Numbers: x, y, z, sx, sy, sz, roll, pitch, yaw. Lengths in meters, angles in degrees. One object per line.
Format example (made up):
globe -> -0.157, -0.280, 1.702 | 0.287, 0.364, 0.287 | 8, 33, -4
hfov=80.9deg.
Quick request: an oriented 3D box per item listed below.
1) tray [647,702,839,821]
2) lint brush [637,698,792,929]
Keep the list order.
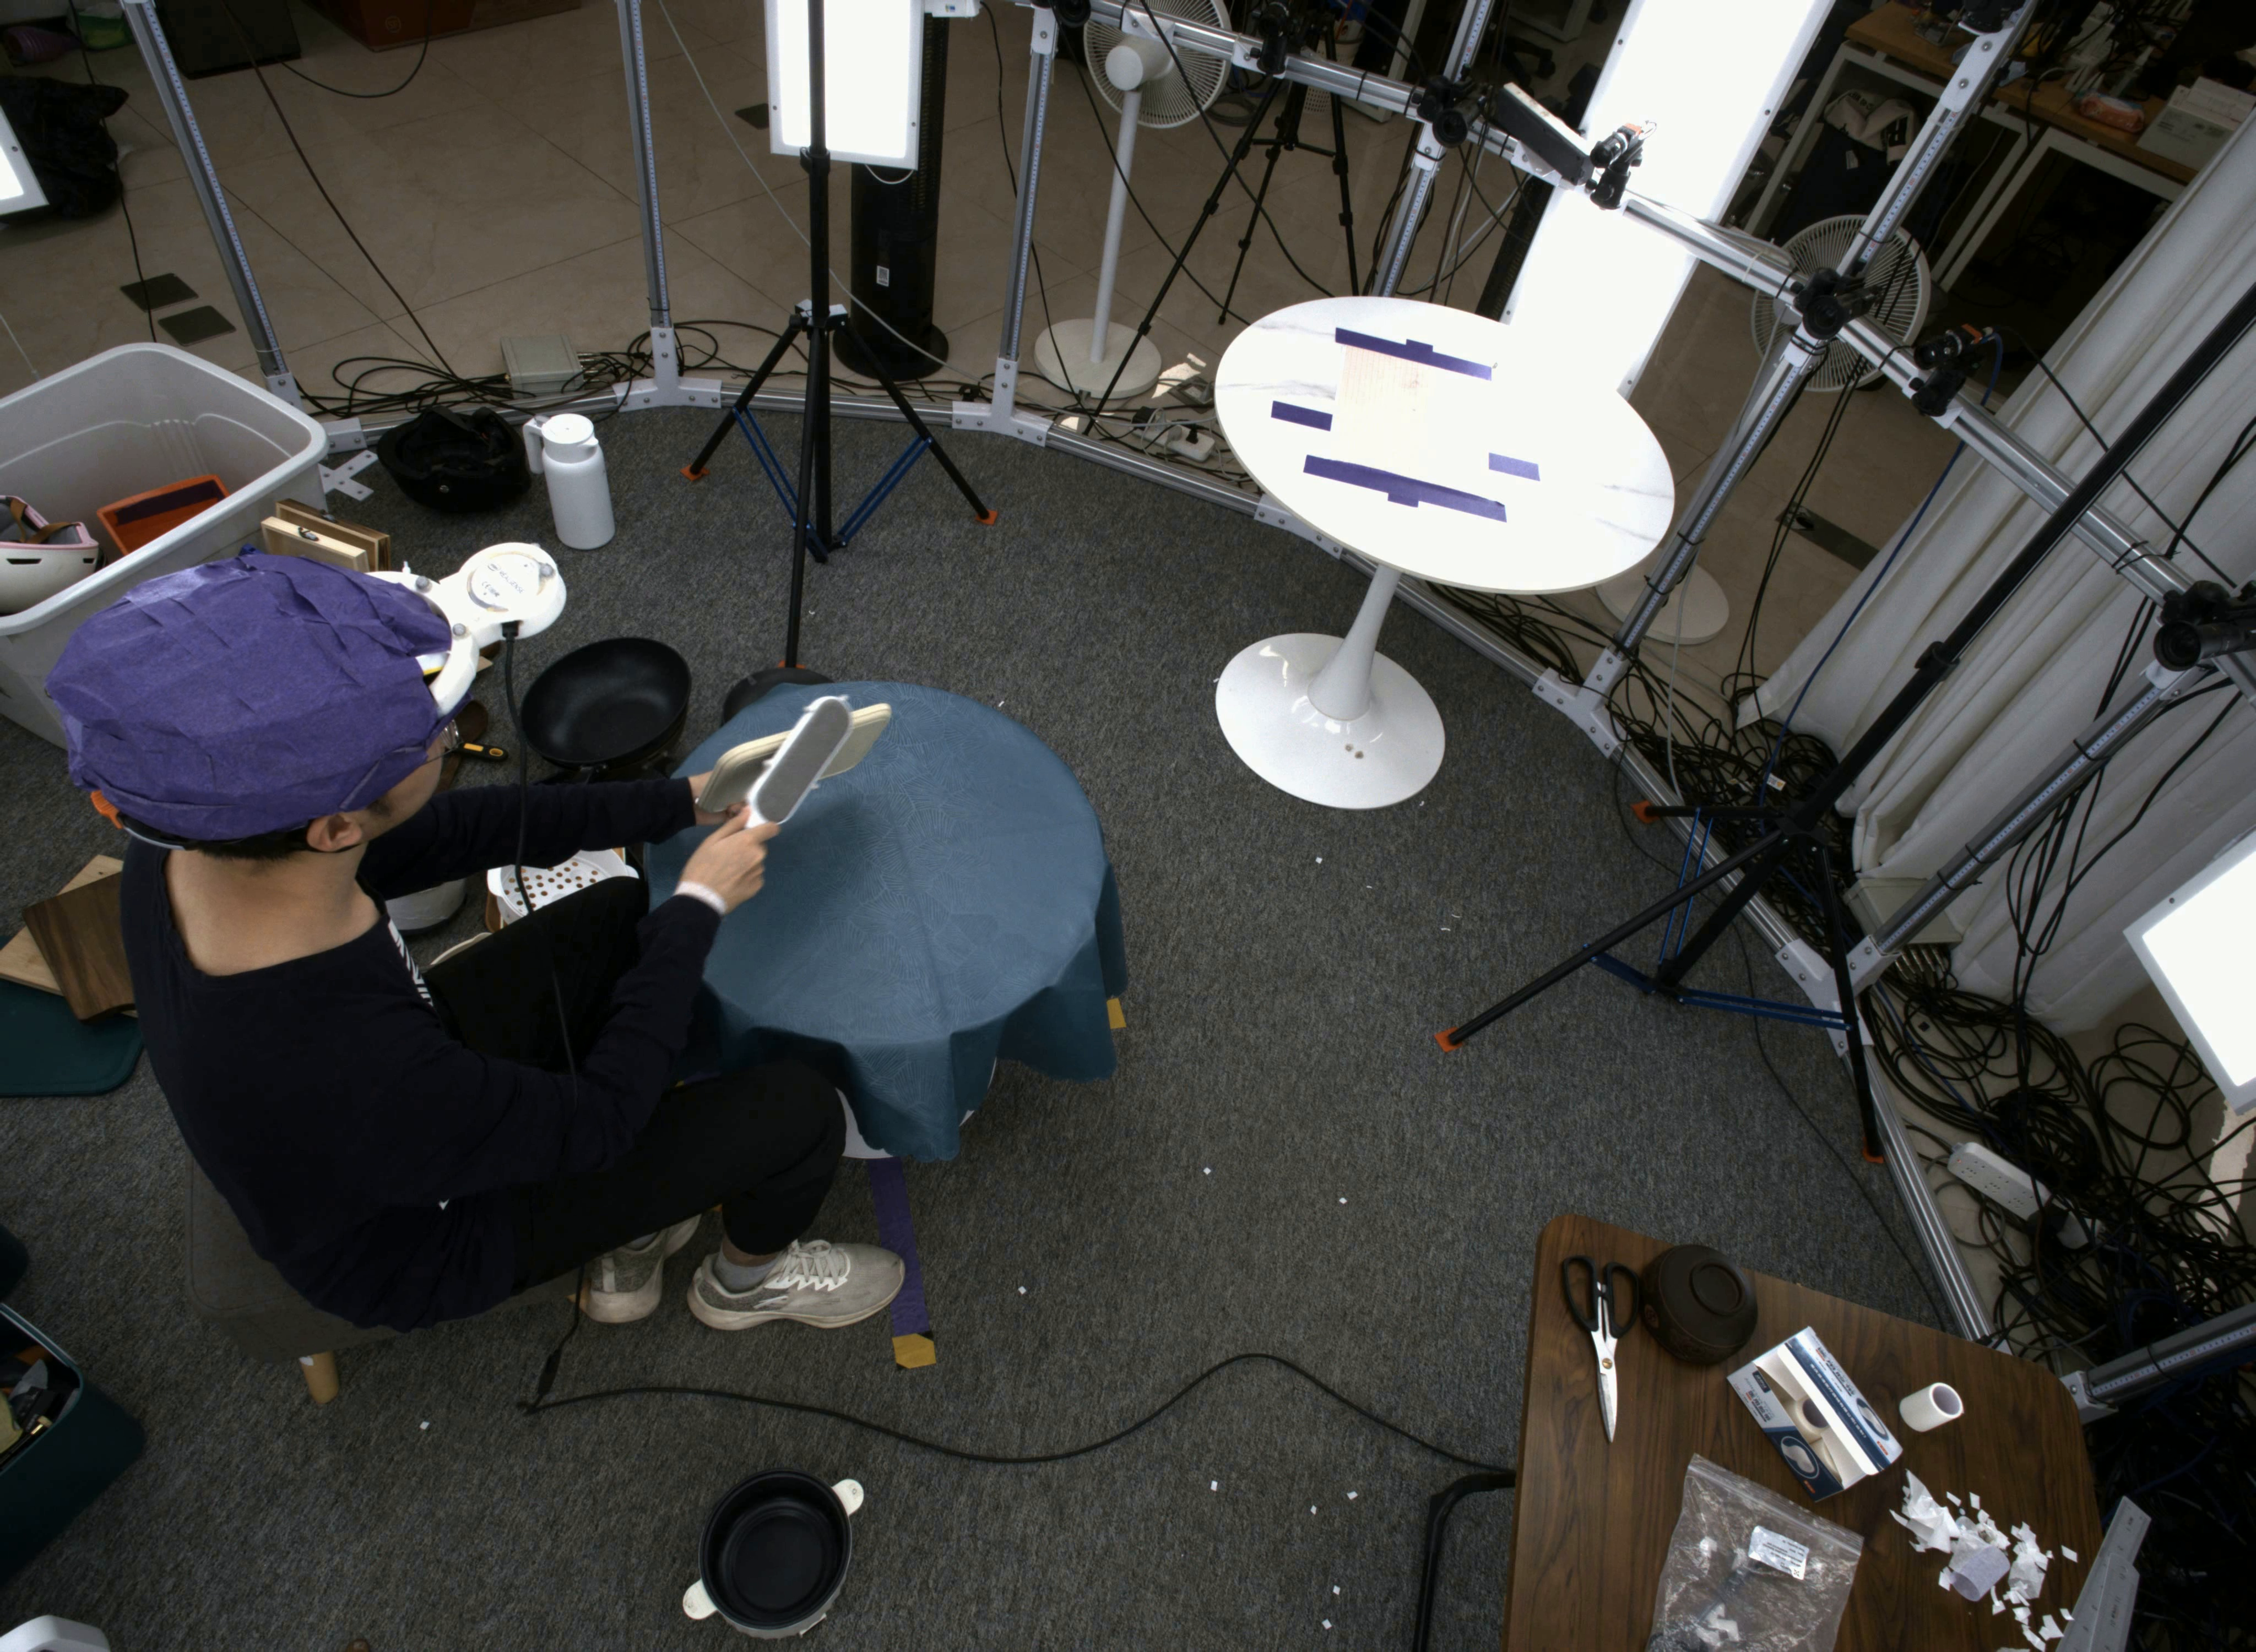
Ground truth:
tray -> -0.474, -0.078, 1.598 | 0.241, 0.170, 0.017 | -25, 78, -40
lint brush -> -0.476, -0.019, 1.479 | 0.020, 0.062, 0.308 | 5, 60, 41
